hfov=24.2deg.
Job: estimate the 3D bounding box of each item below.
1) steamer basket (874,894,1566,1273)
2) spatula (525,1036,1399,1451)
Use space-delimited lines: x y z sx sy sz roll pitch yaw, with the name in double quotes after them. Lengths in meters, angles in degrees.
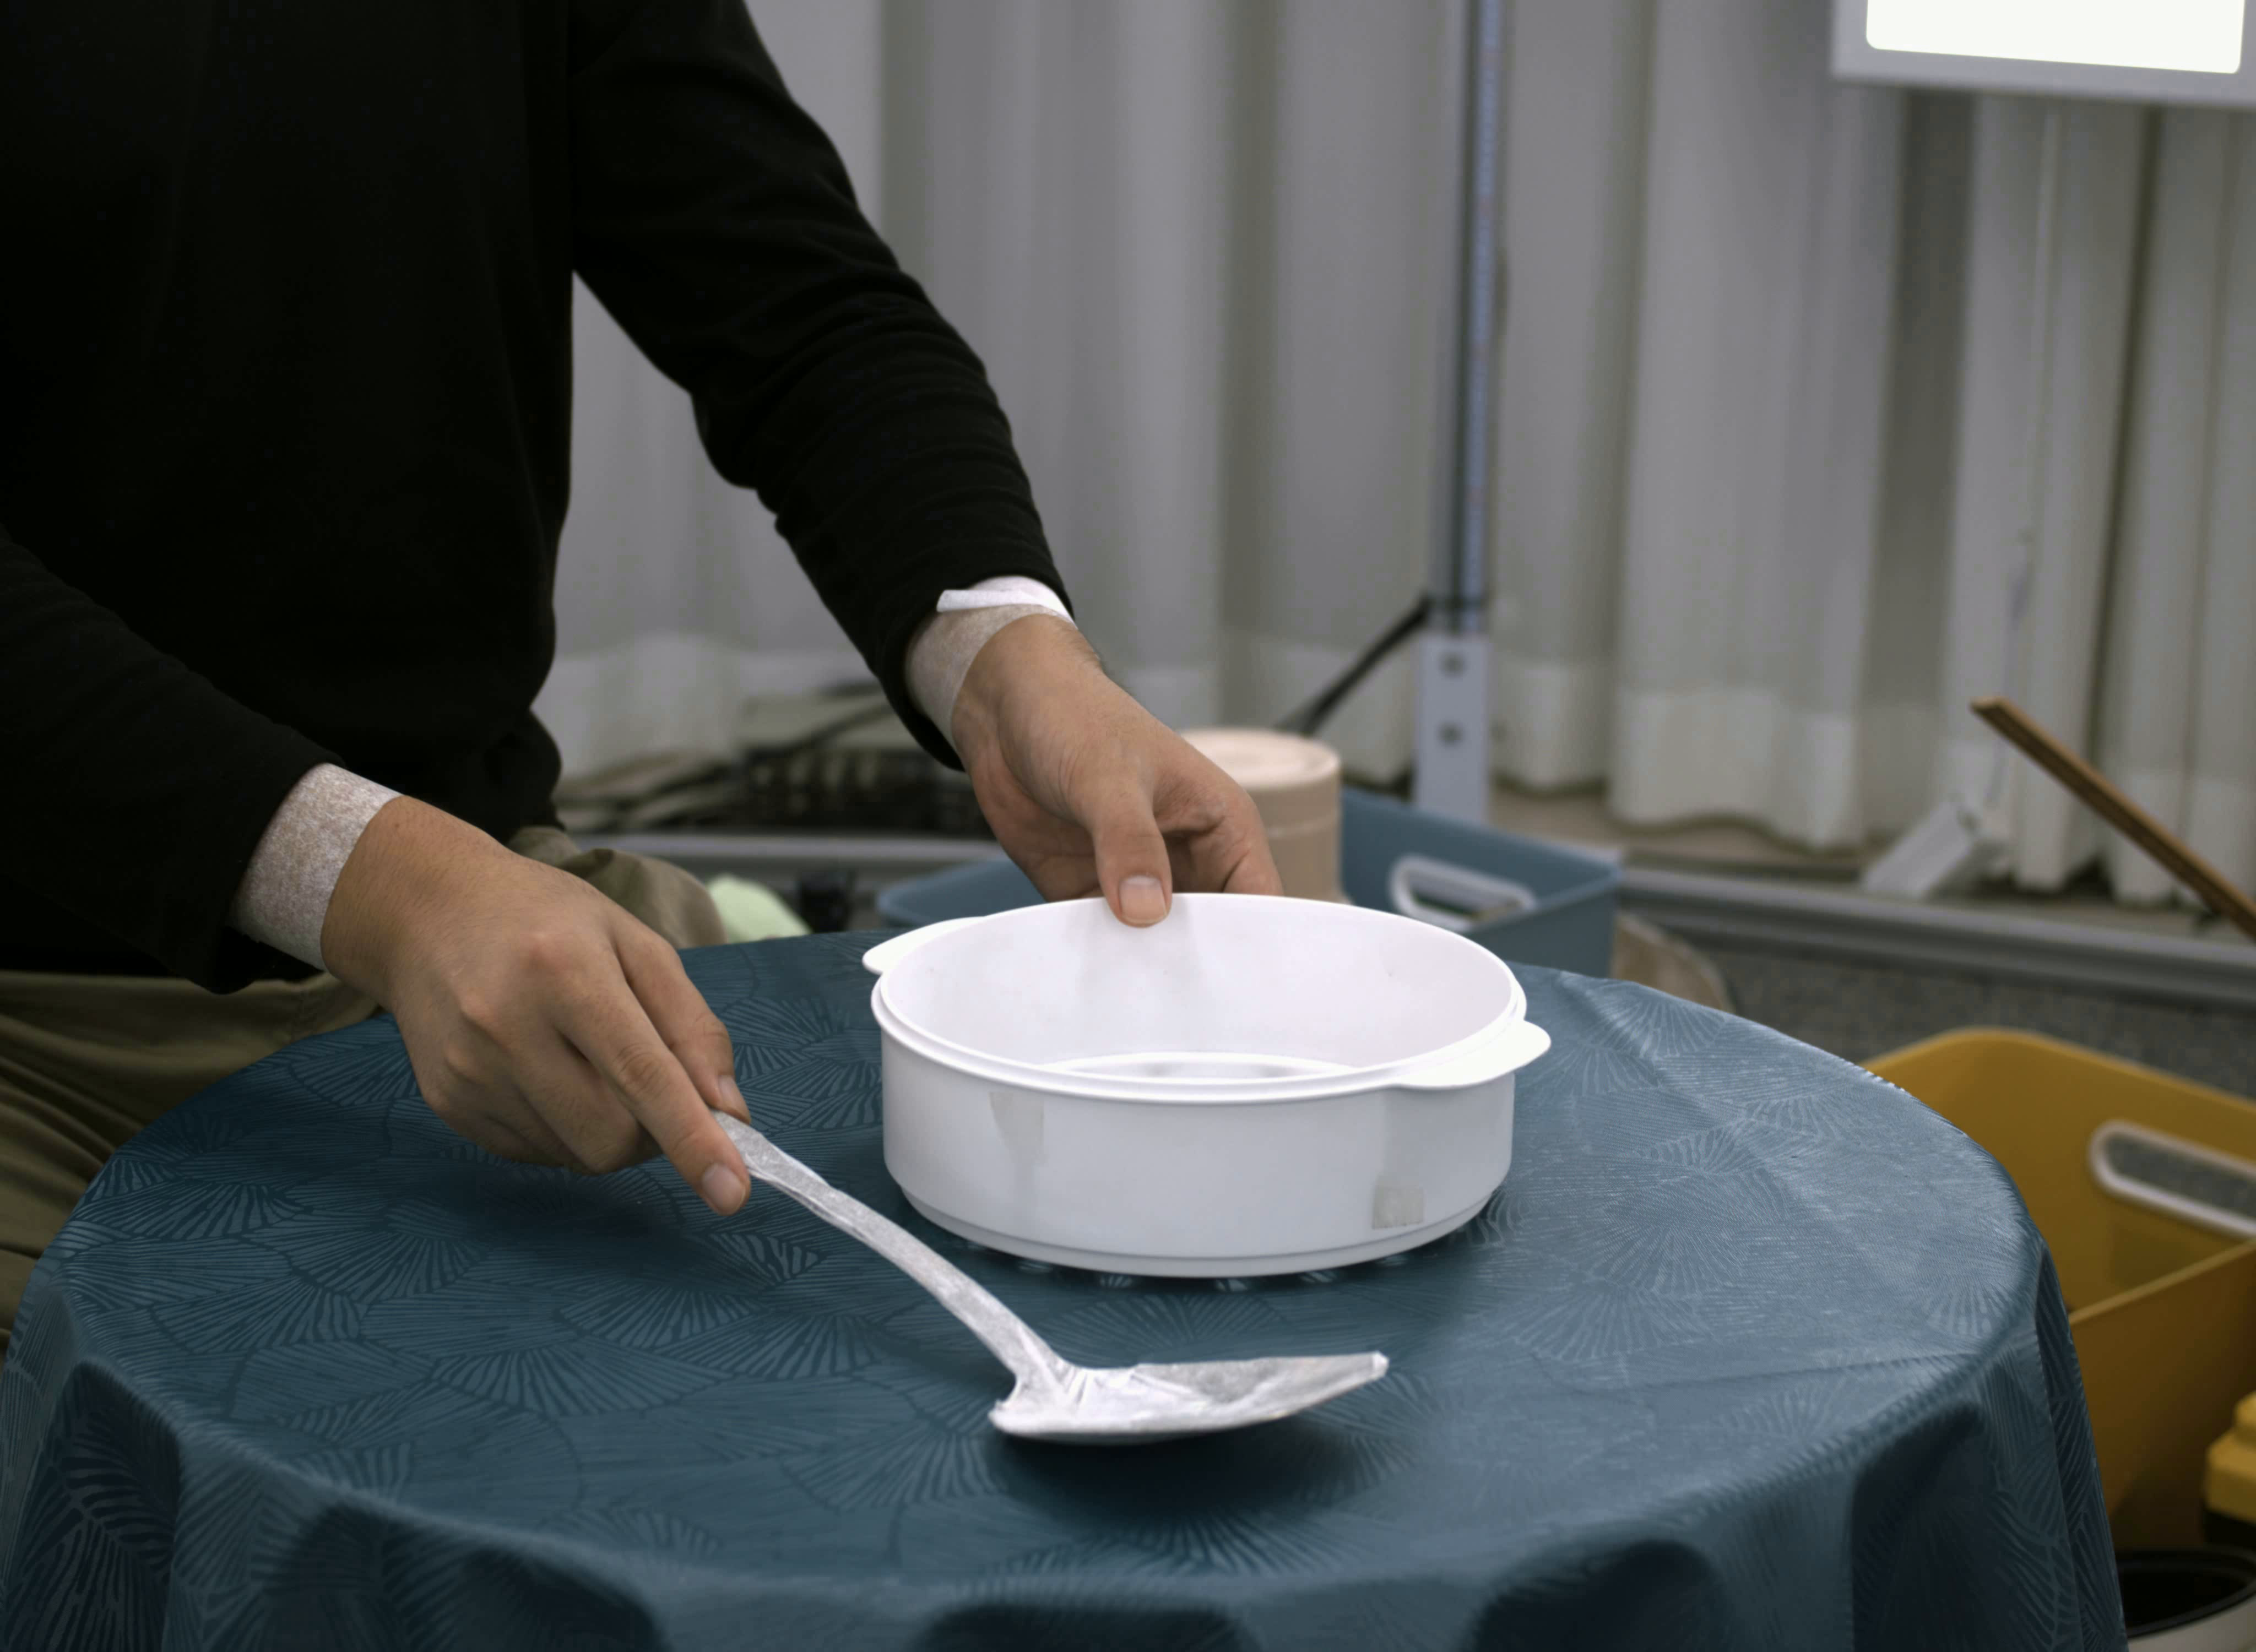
0.026 0.078 1.610 0.227 0.070 0.203 10 18 34 "steamer basket"
-0.072 0.110 1.504 0.099 0.045 0.360 -15 29 -39 "spatula"
